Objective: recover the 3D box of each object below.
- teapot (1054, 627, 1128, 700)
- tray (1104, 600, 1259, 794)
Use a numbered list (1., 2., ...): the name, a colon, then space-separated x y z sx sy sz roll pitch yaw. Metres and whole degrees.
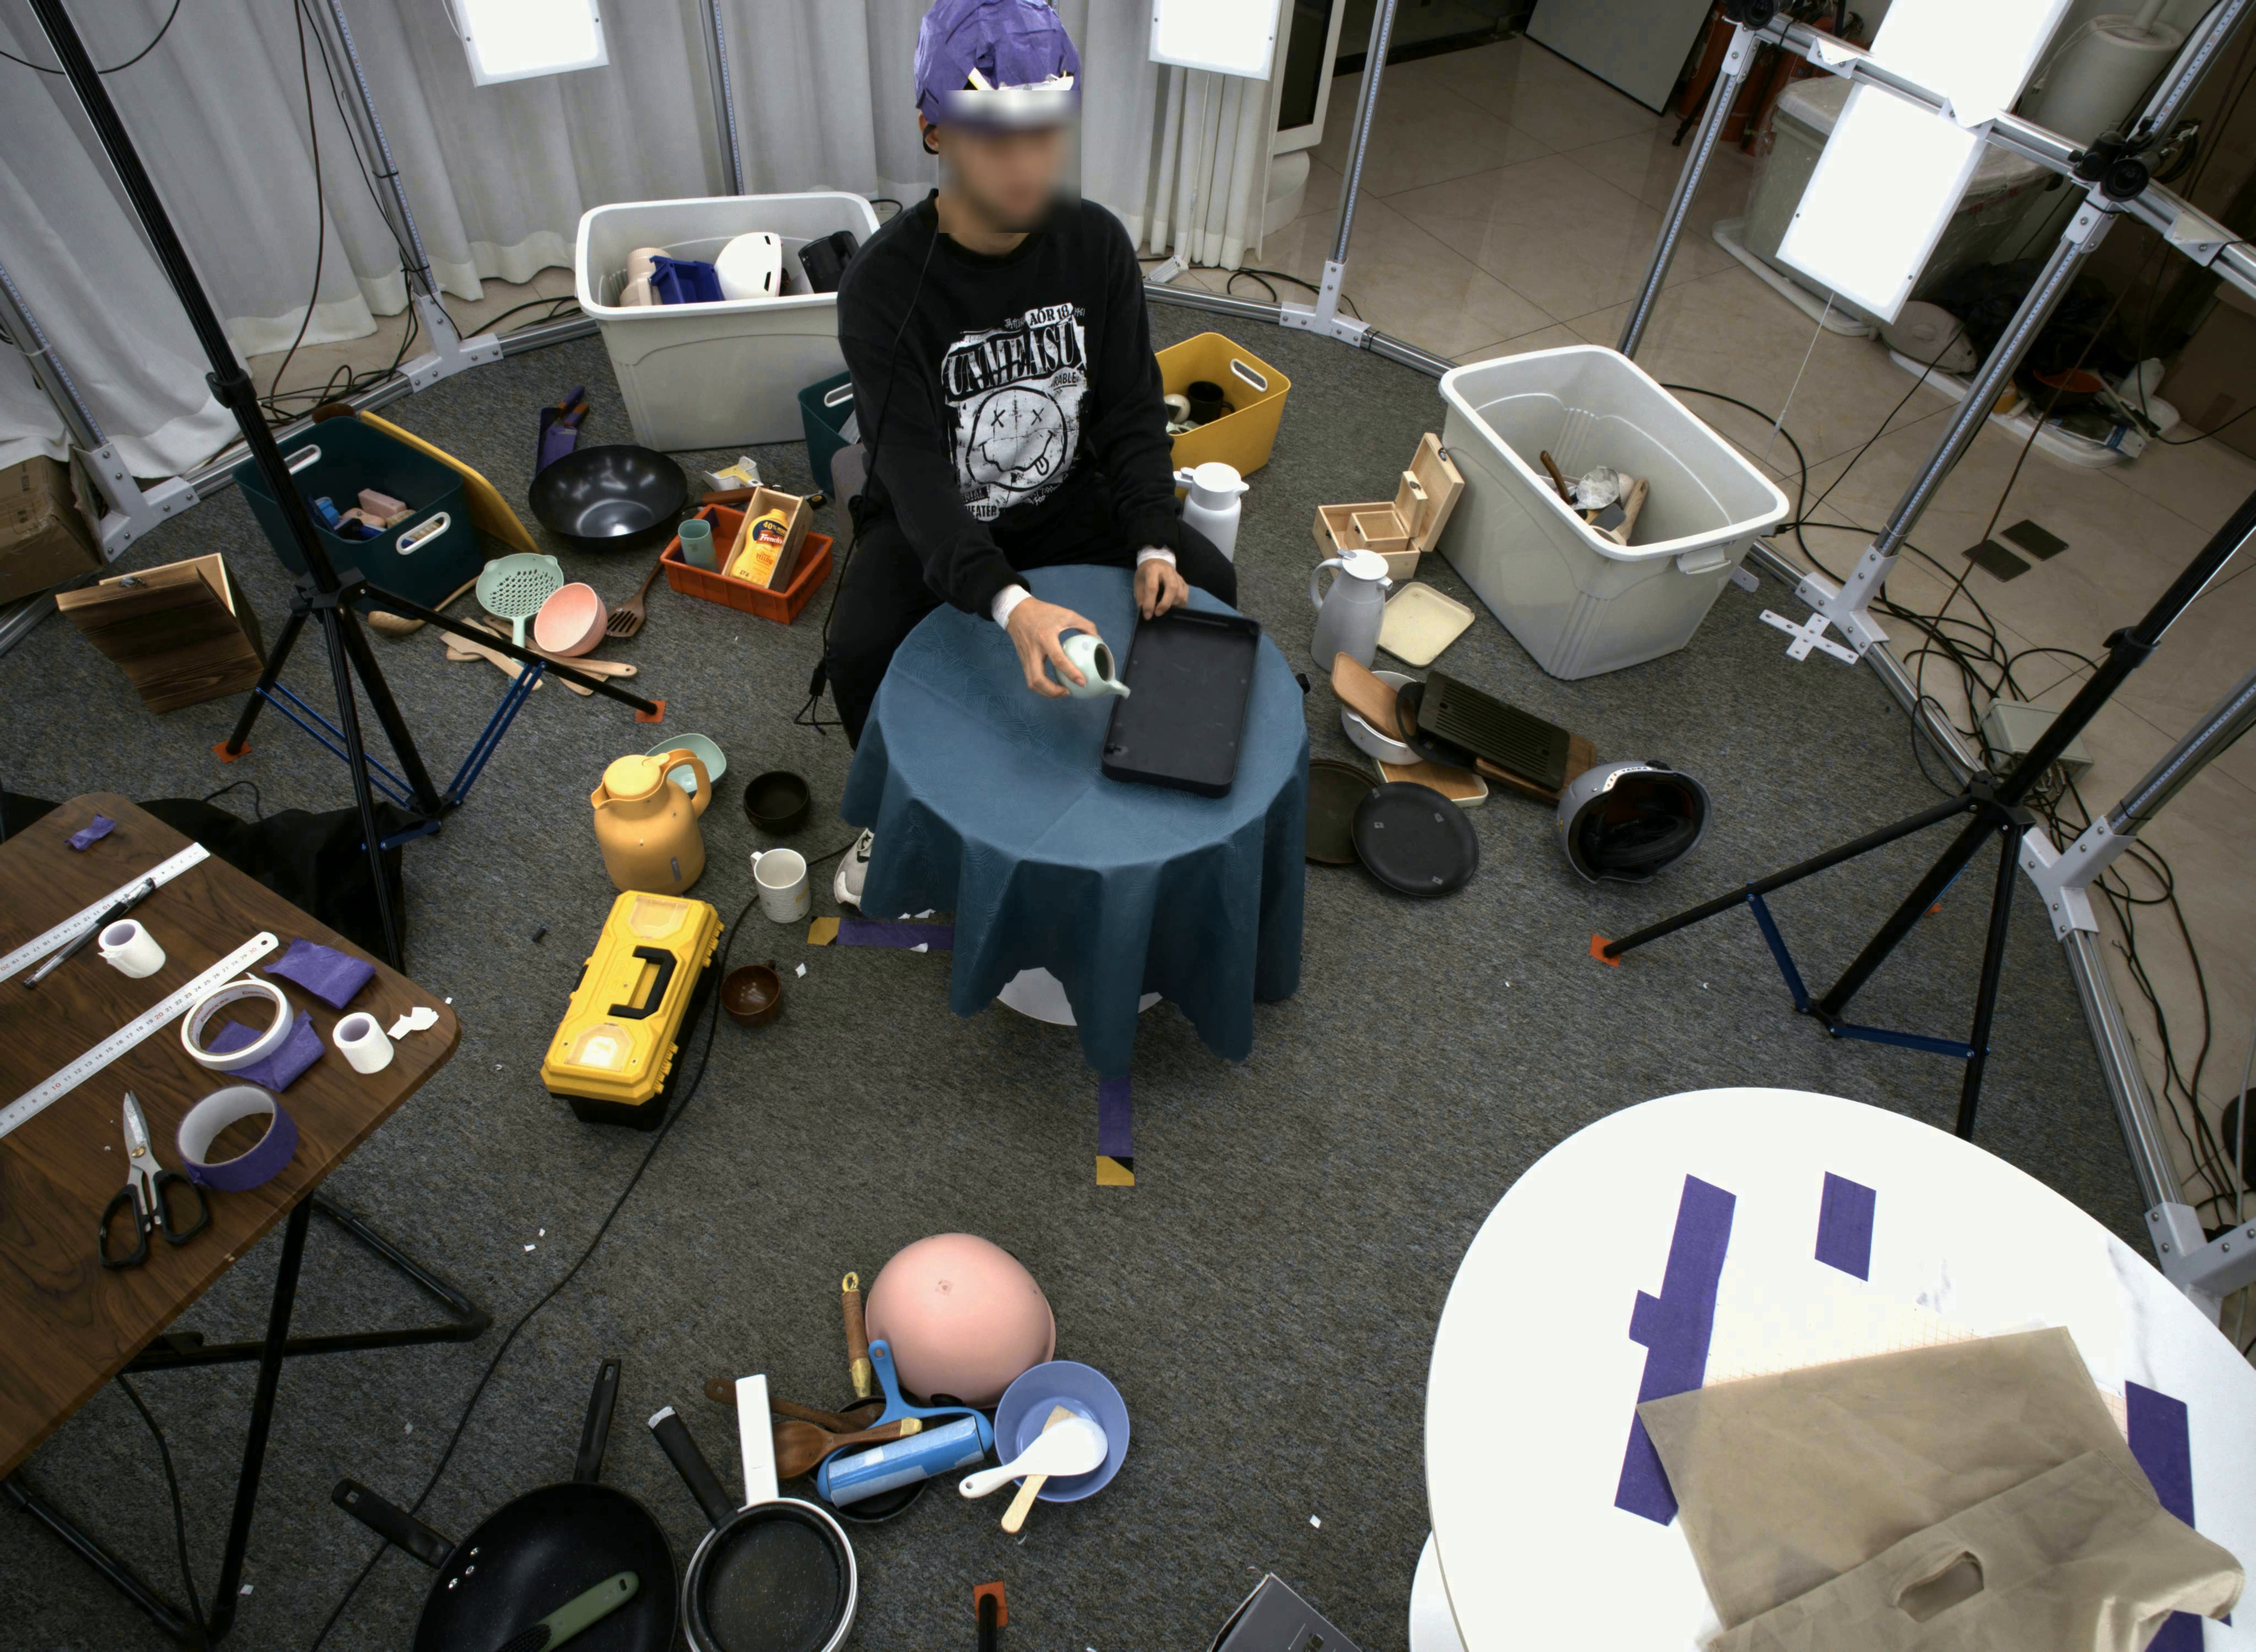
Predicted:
1. teapot: -0.058 -0.213 1.721 0.075 0.140 0.090 -8 49 25
2. tray: 0.079 -0.187 1.801 0.184 0.036 0.325 8 53 4
